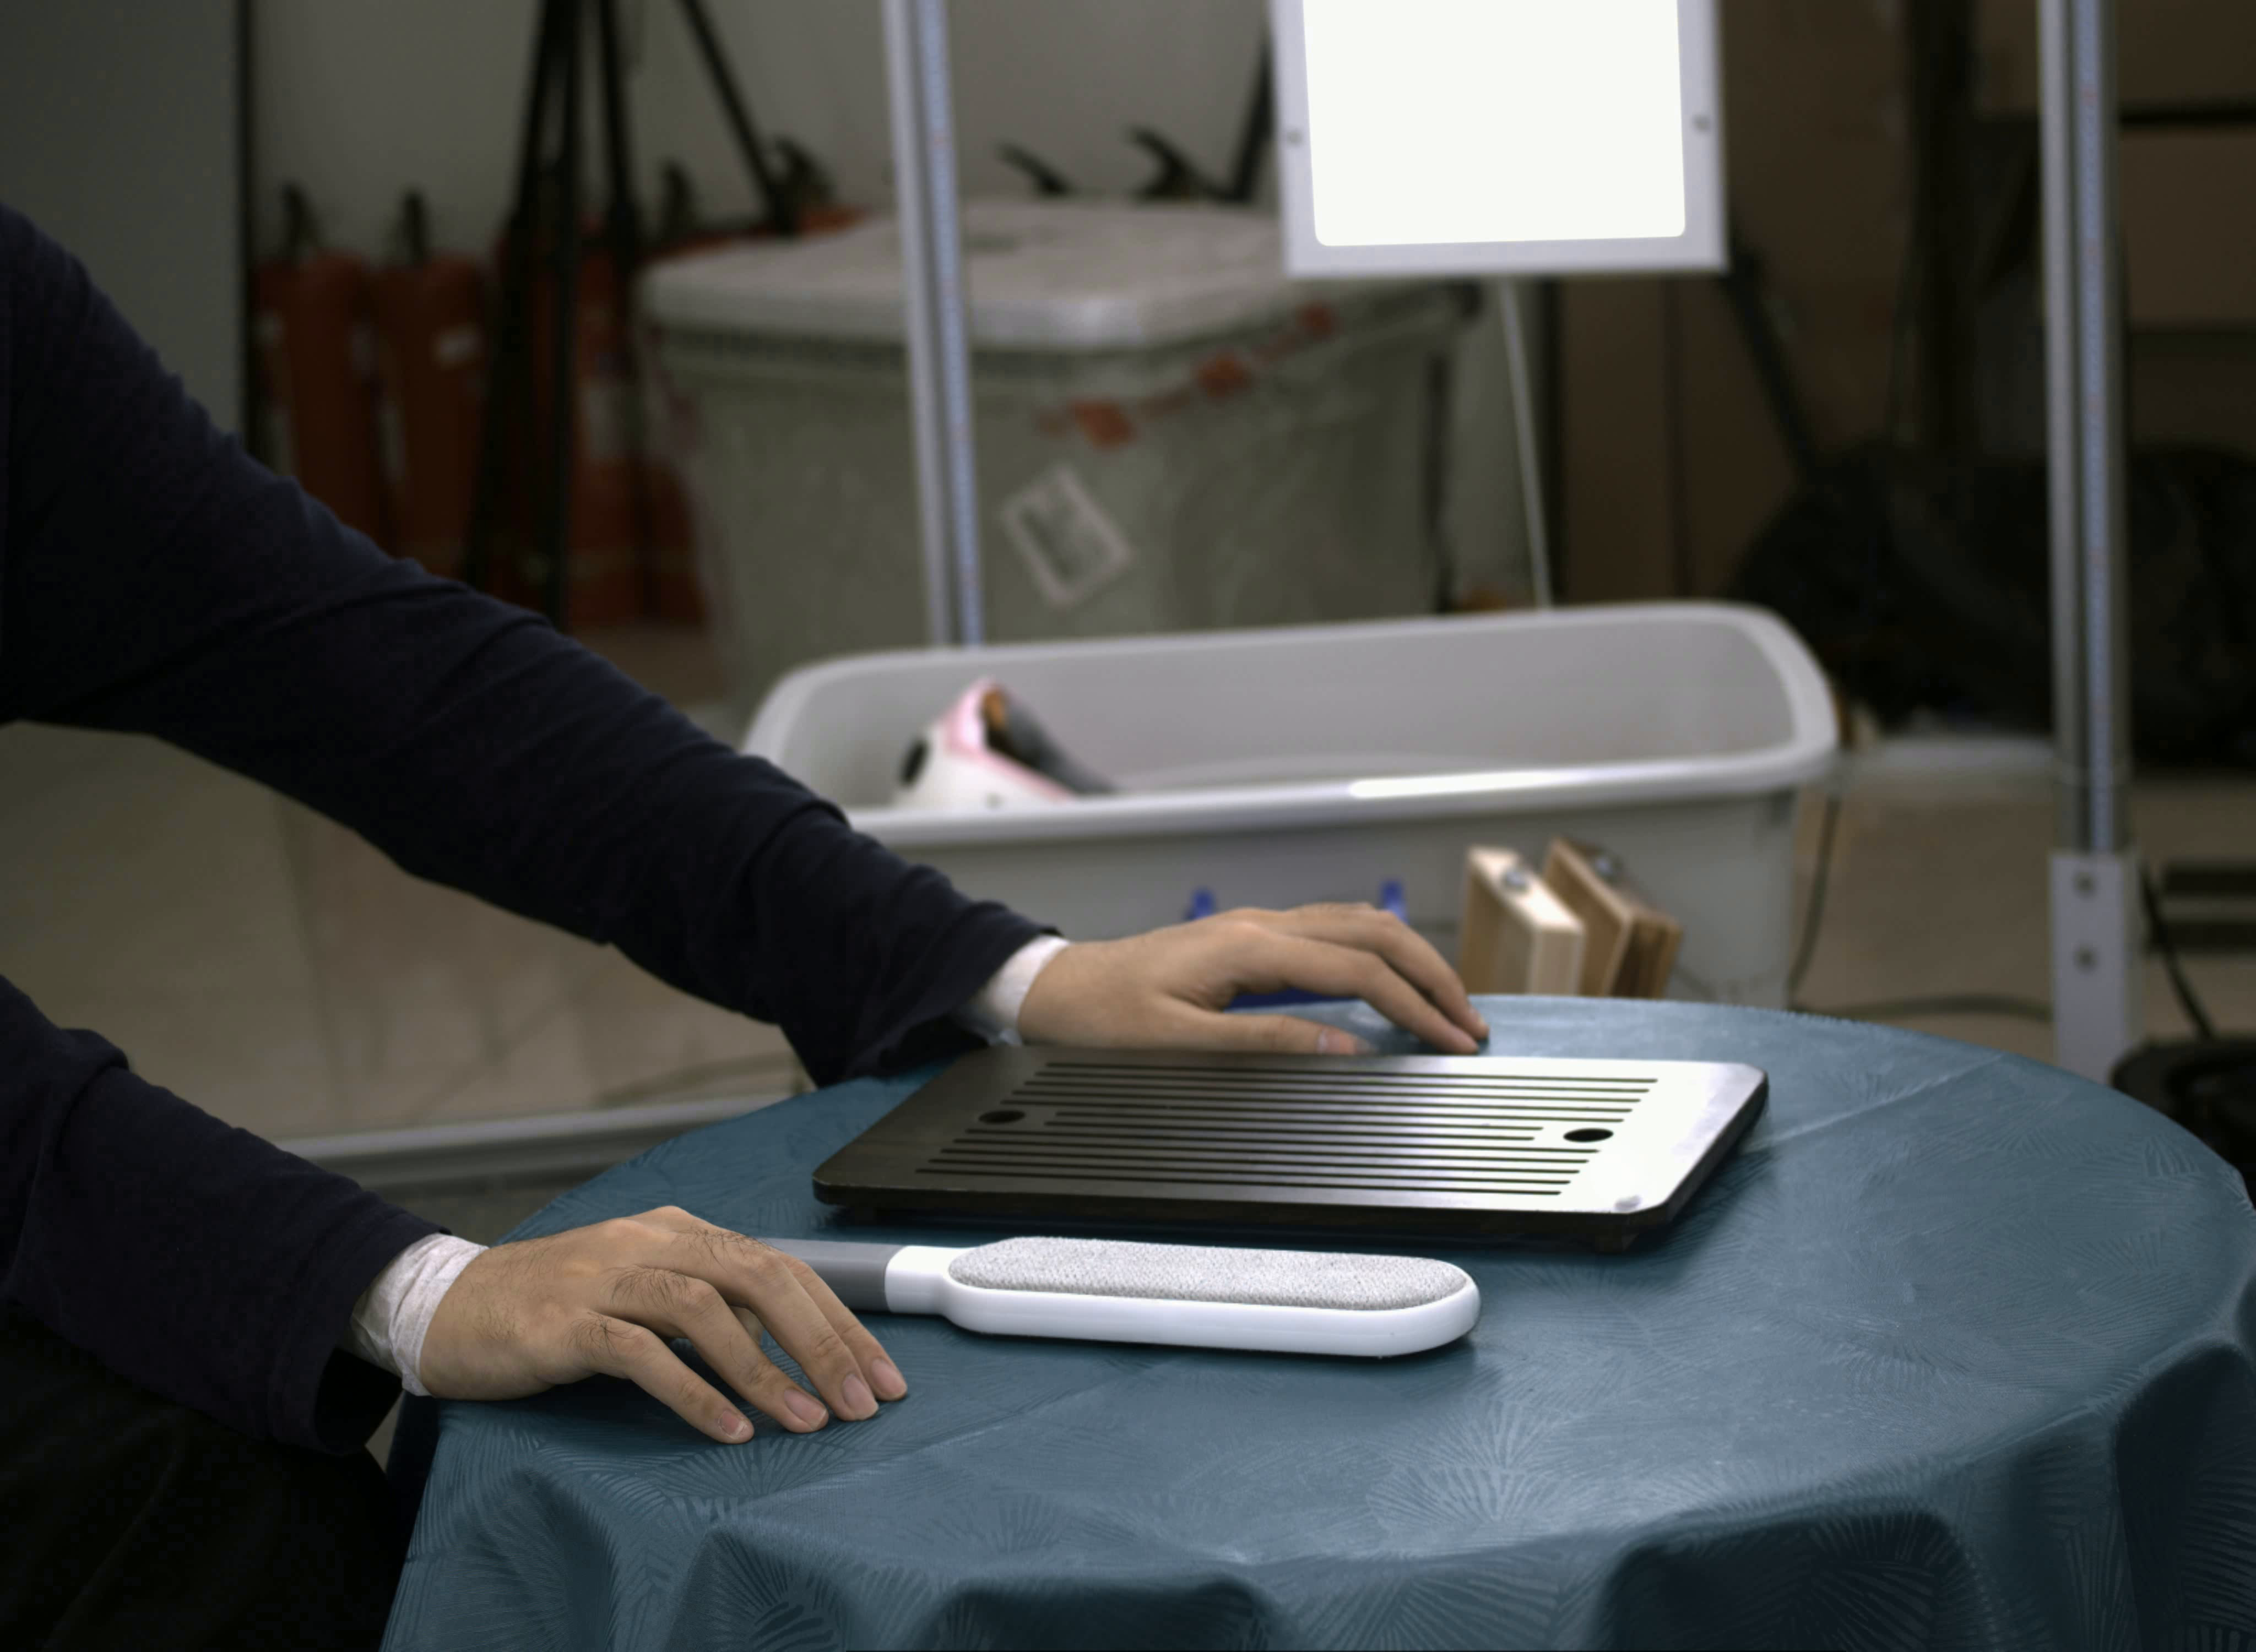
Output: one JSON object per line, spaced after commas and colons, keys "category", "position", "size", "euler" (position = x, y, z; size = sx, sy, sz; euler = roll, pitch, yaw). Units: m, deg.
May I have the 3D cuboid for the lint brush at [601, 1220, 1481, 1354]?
{"category": "lint brush", "position": [-0.033, 0.145, 1.782], "size": [0.314, 0.021, 0.059], "euler": [1, 20, 26]}

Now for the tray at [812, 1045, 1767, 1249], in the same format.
{"category": "tray", "position": [0.058, 0.110, 1.913], "size": [0.310, 0.019, 0.167], "euler": [0, 15, 22]}
